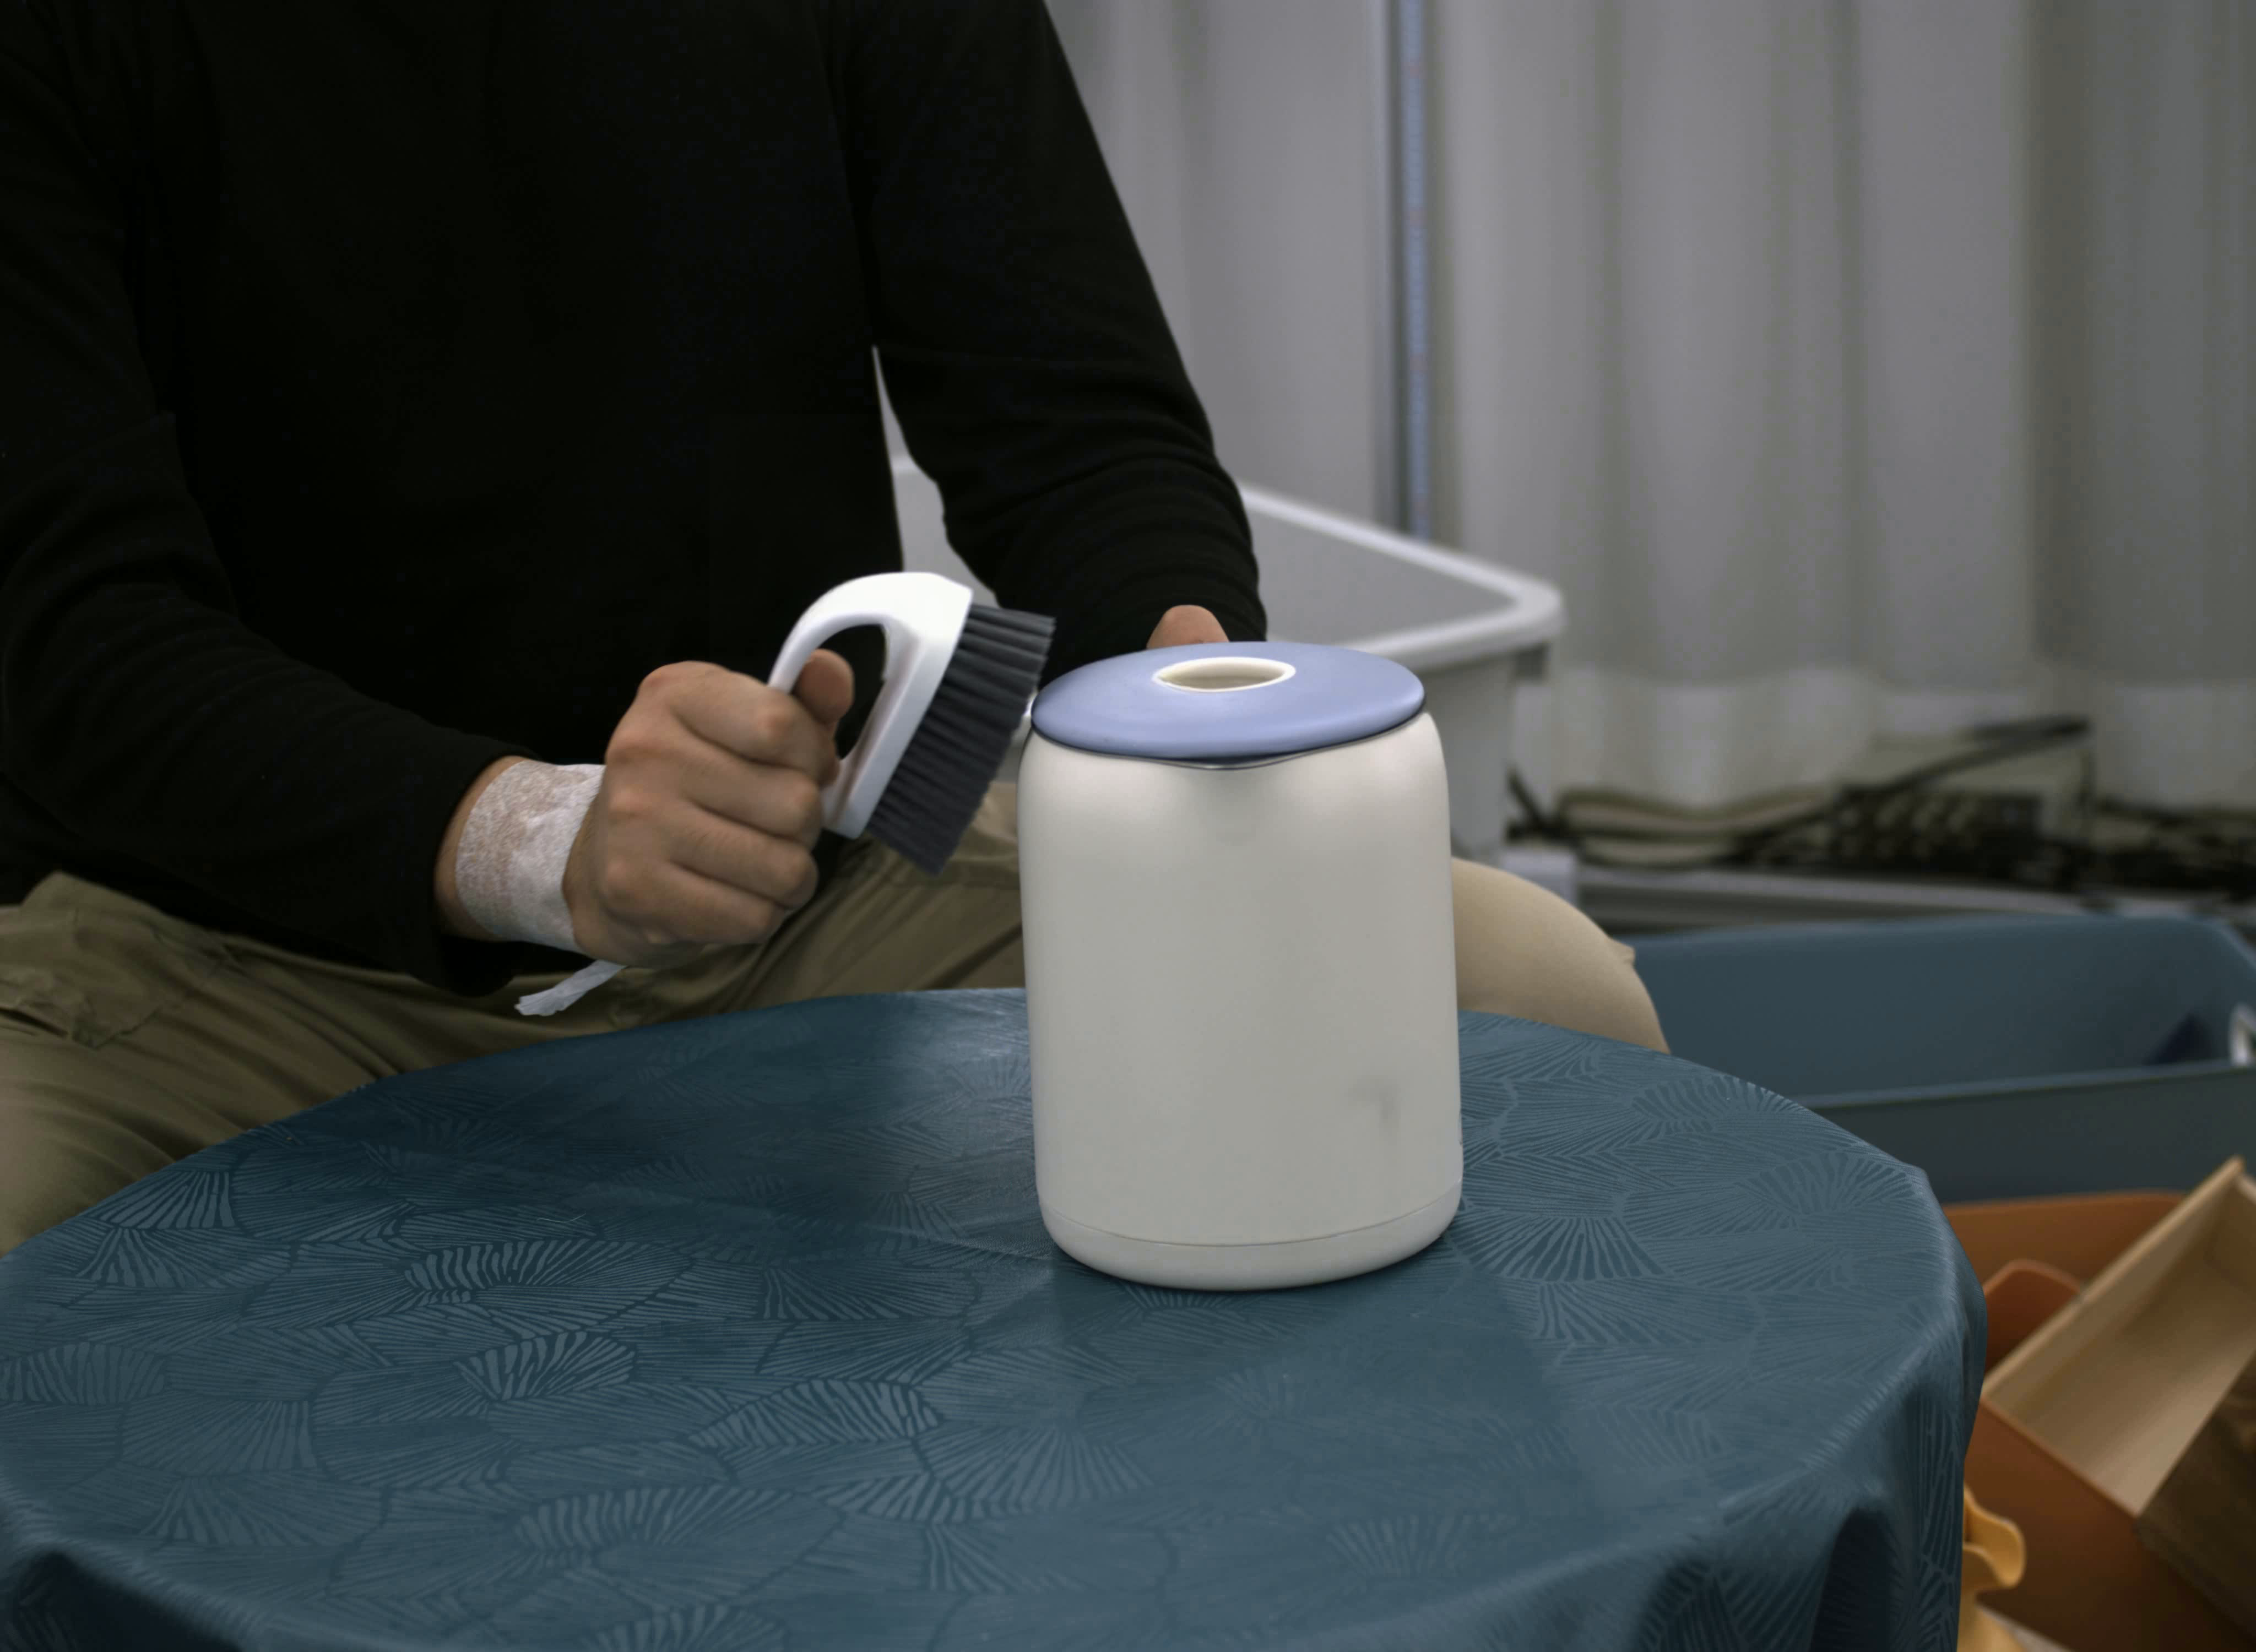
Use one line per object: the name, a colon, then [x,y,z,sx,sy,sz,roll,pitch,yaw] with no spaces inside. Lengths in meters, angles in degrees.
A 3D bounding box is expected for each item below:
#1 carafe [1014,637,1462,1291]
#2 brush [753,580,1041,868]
carafe: [0.033,0.035,1.679,0.132,0.182,0.192,-3,13,-1]
brush: [-0.075,-0.035,1.661,0.072,0.098,0.051,19,47,-8]
